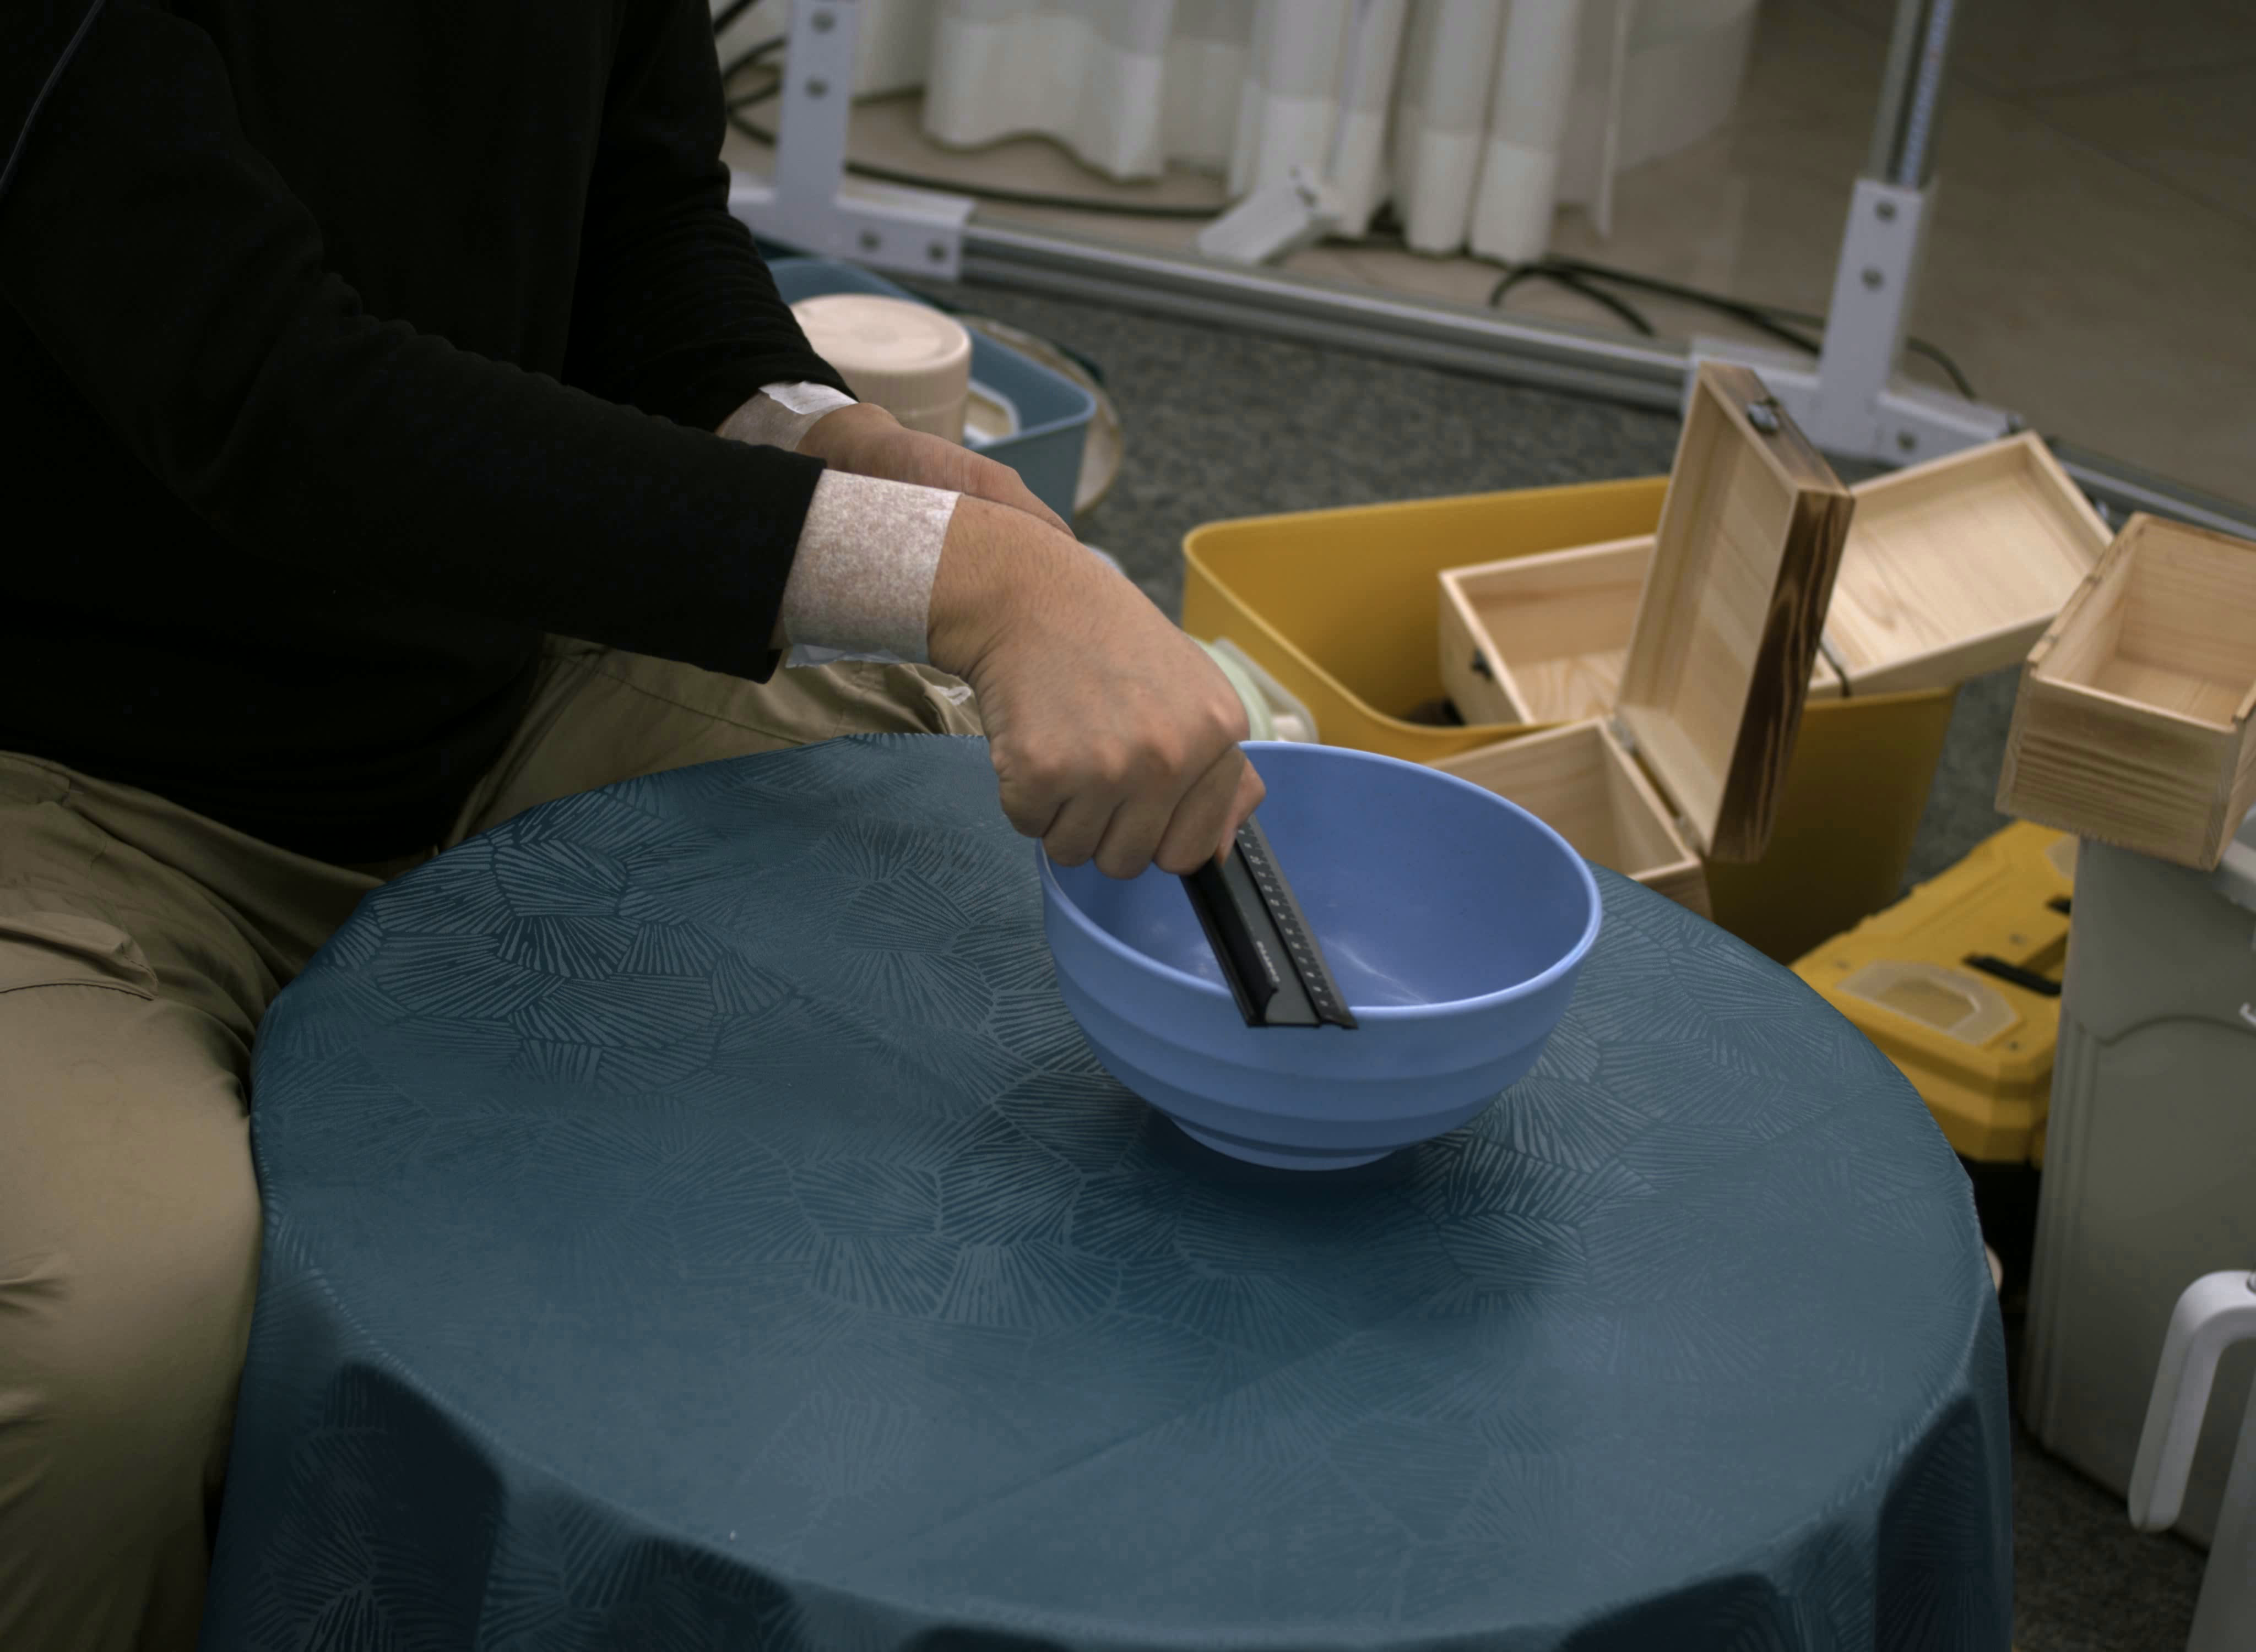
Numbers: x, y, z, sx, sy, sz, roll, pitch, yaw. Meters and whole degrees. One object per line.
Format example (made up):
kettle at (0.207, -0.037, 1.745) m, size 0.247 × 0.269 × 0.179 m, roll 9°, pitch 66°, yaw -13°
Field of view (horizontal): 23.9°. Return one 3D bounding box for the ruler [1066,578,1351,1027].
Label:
ruler at (0.027, -0.014, 1.853) m, size 0.039 × 0.017 × 0.315 m, roll 6°, pitch 26°, yaw -16°

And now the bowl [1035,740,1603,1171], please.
bowl at (0.060, 0.056, 1.844) m, size 0.196 × 0.095 × 0.197 m, roll 6°, pitch 27°, yaw -3°
